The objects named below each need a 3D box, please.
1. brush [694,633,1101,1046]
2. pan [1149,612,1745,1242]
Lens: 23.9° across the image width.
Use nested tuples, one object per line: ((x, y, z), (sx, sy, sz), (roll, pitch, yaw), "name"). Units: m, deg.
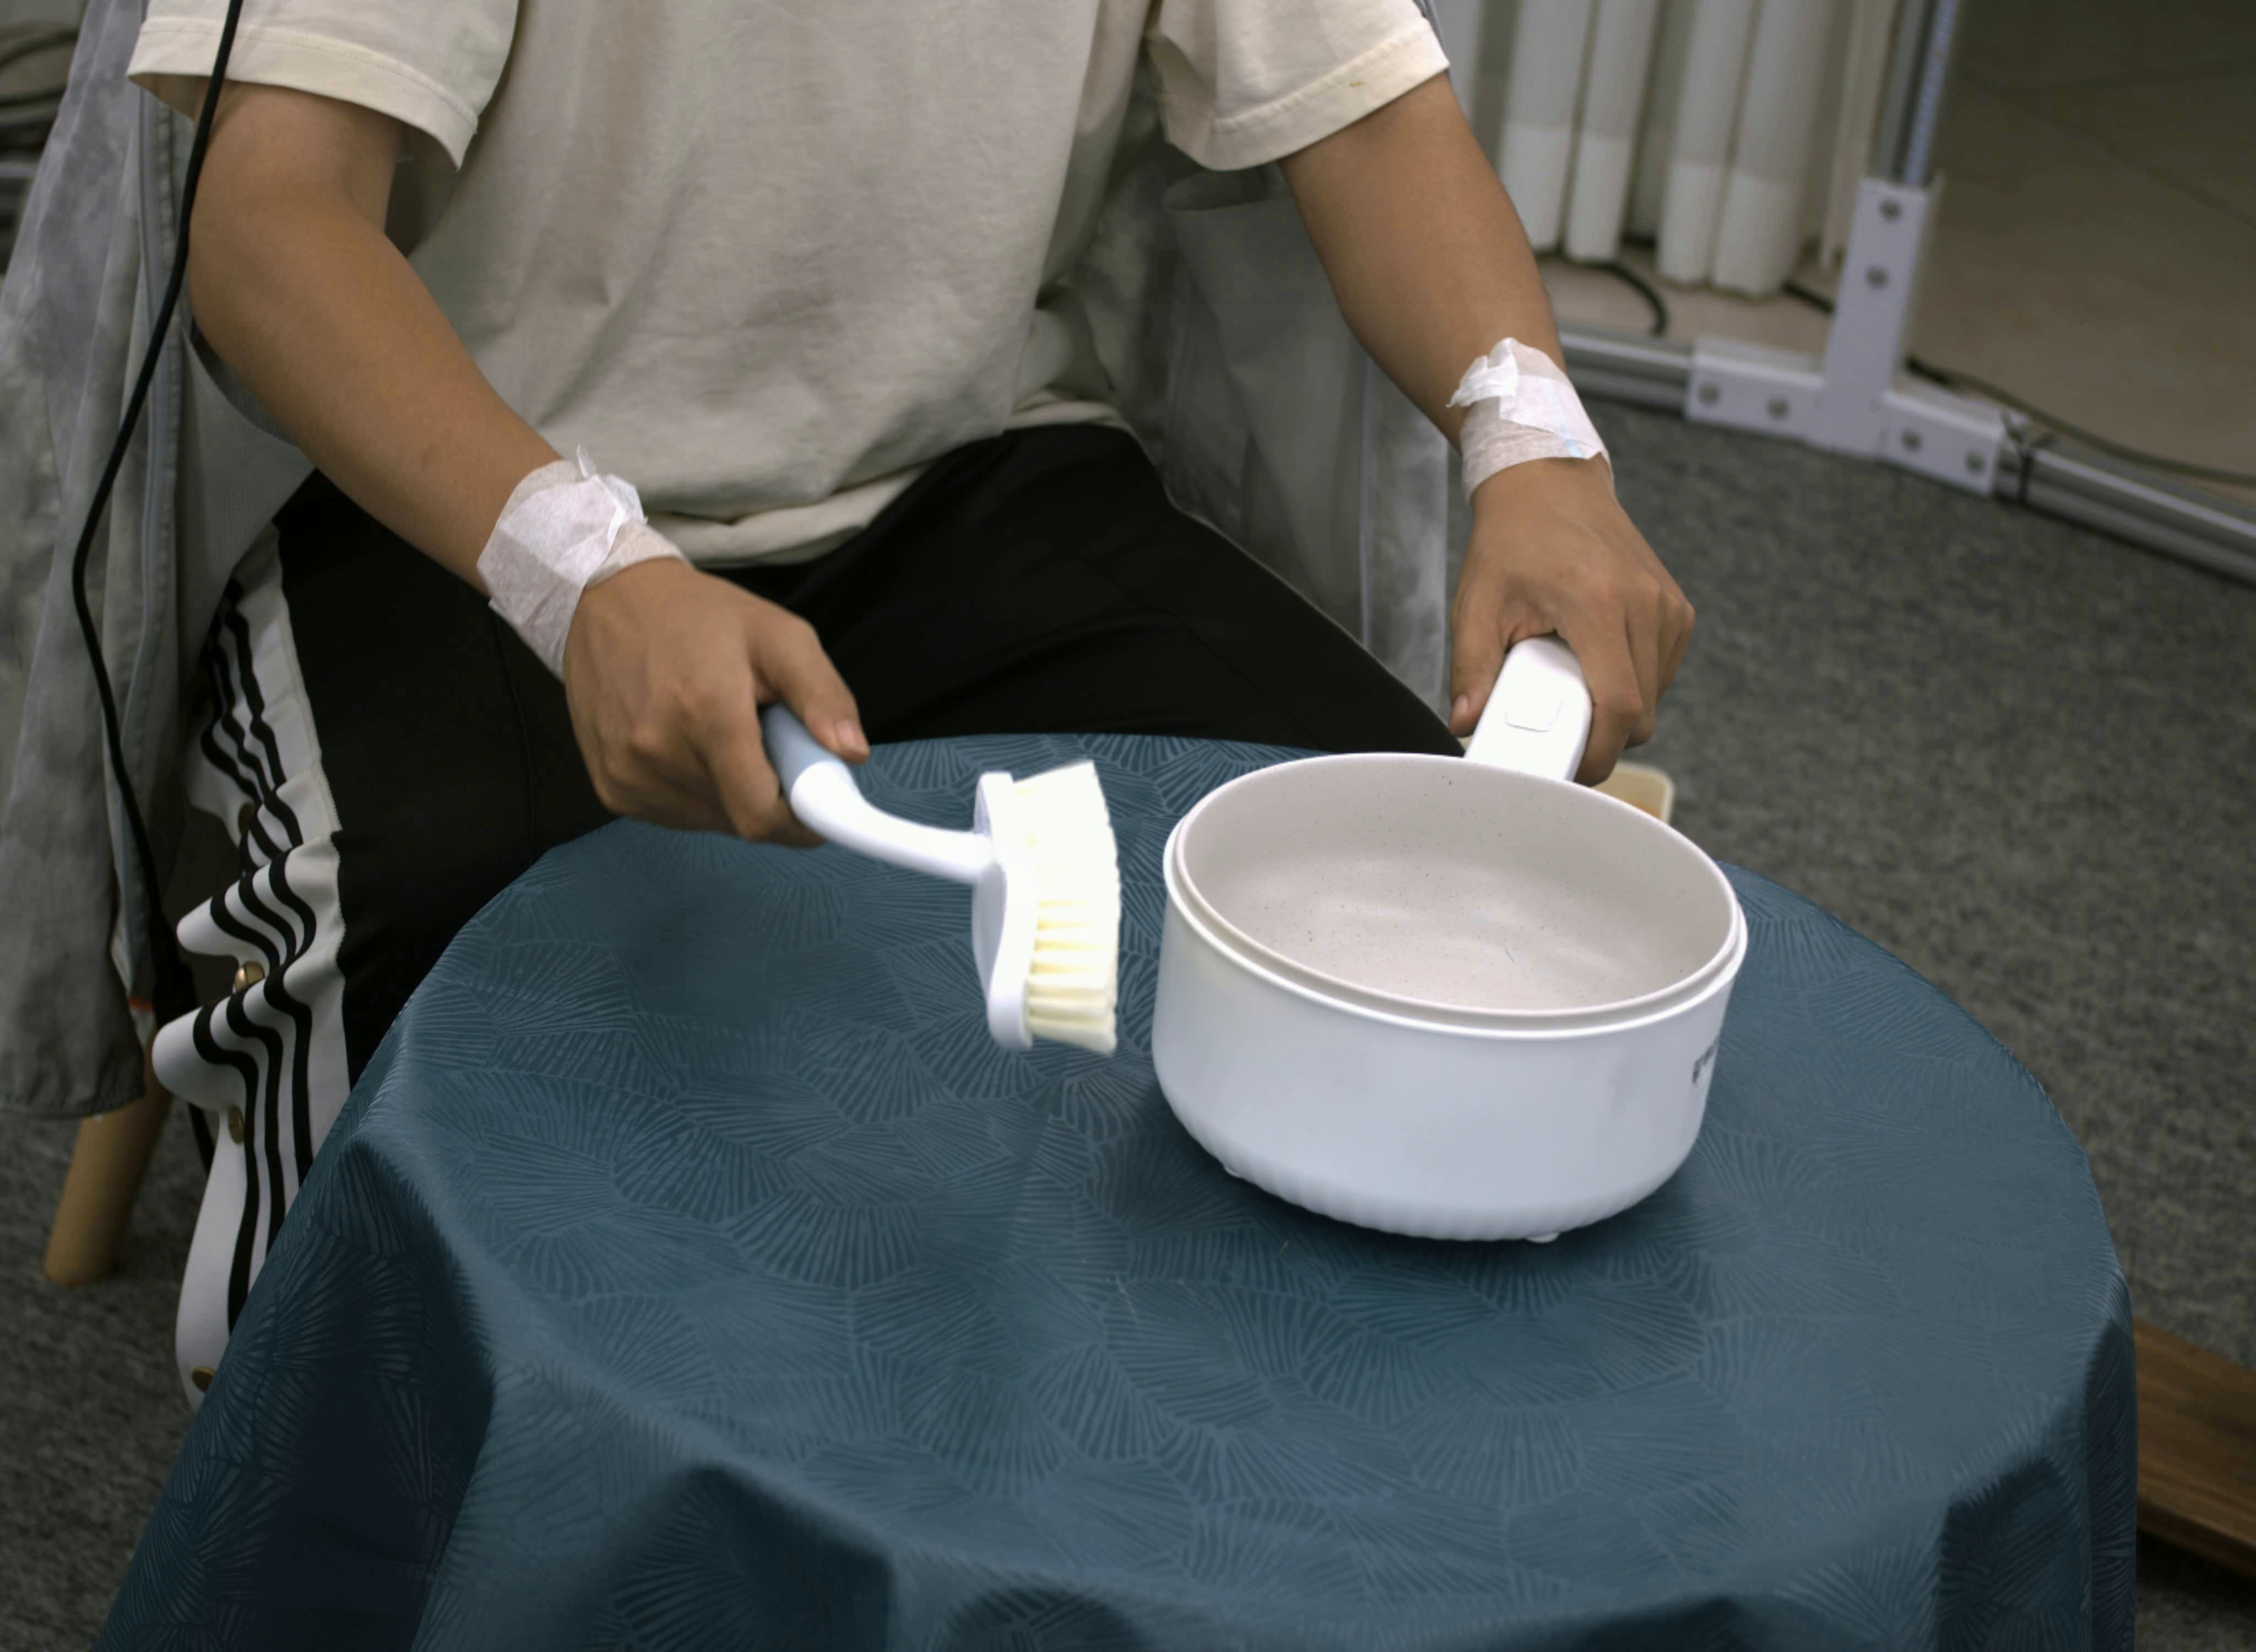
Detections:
((-0.062, -0.009, 1.819), (0.084, 0.083, 0.328), (35, 7, -29), "brush")
((0.124, 0.032, 1.904), (0.201, 0.102, 0.355), (11, 26, 10), "pan")
